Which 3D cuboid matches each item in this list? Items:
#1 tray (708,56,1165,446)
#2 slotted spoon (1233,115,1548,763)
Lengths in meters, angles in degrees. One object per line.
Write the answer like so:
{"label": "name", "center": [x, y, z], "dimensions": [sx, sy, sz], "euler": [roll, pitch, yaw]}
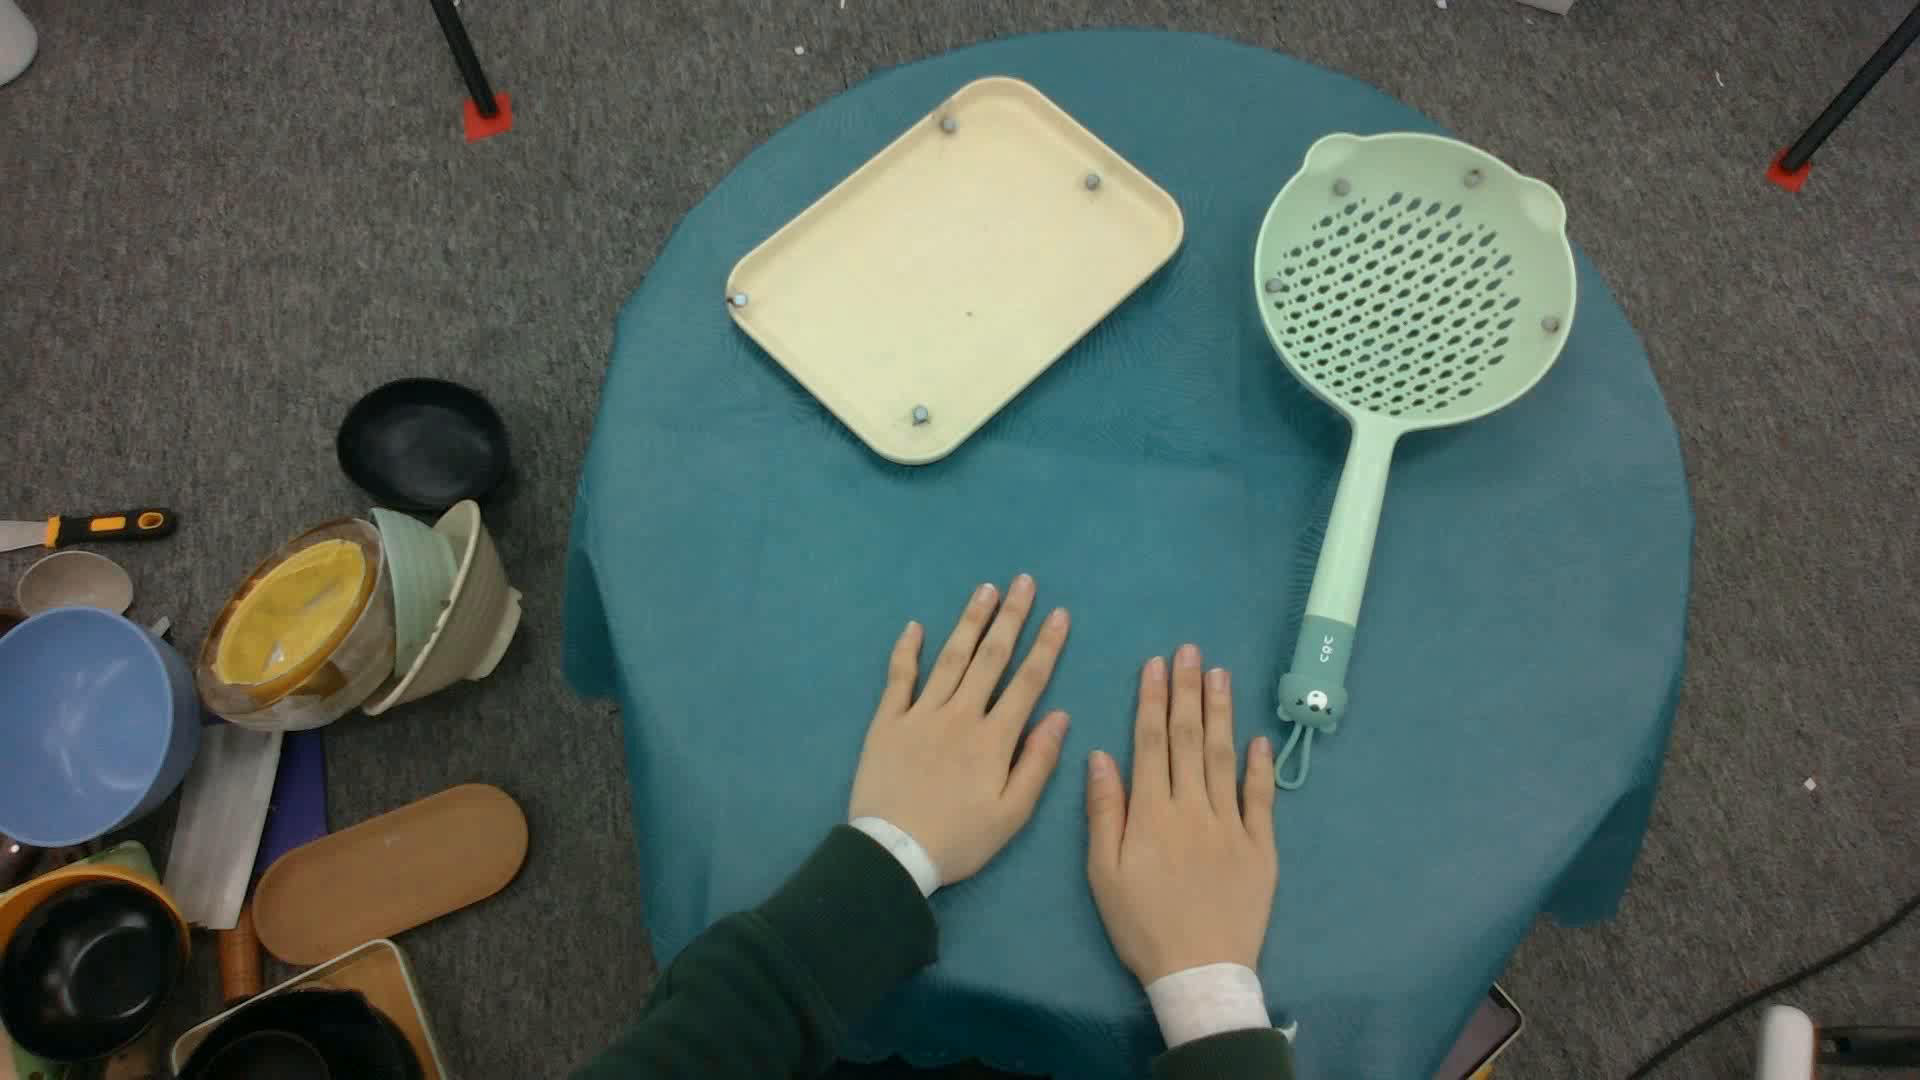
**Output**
{"label": "tray", "center": [-0.011, -0.170, 0.791], "dimensions": [0.171, 0.017, 0.240], "euler": [42, 72, 15]}
{"label": "slotted spoon", "center": [0.204, -0.060, 0.726], "dimensions": [0.169, 0.075, 0.360], "euler": [16, 67, 5]}
